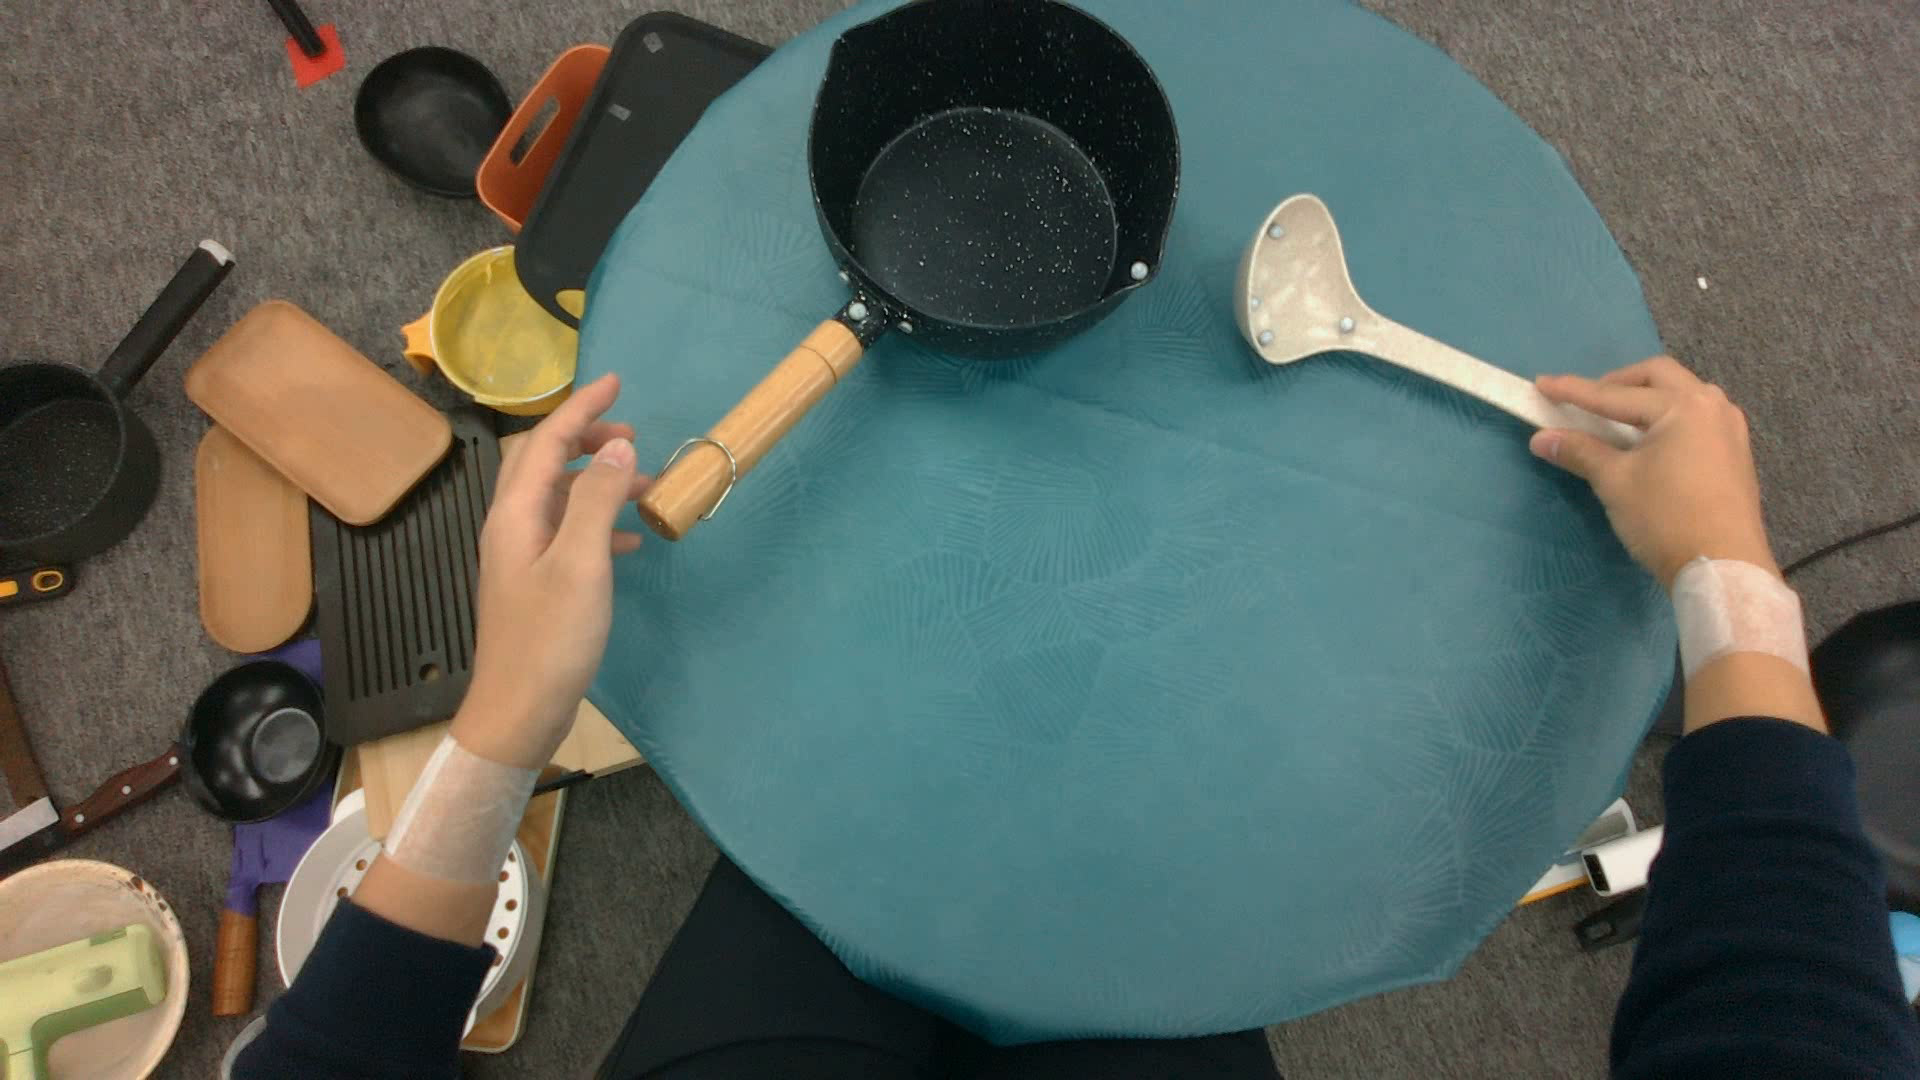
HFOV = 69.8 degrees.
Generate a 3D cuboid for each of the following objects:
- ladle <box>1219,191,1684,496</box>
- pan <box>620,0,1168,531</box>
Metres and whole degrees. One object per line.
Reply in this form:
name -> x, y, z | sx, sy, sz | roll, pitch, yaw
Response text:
ladle -> 0.265, -0.093, 0.716 | 0.275, 0.069, 0.089 | 25, 75, 3
pan -> -0.038, -0.125, 0.687 | 0.207, 0.108, 0.343 | 37, 75, 5
